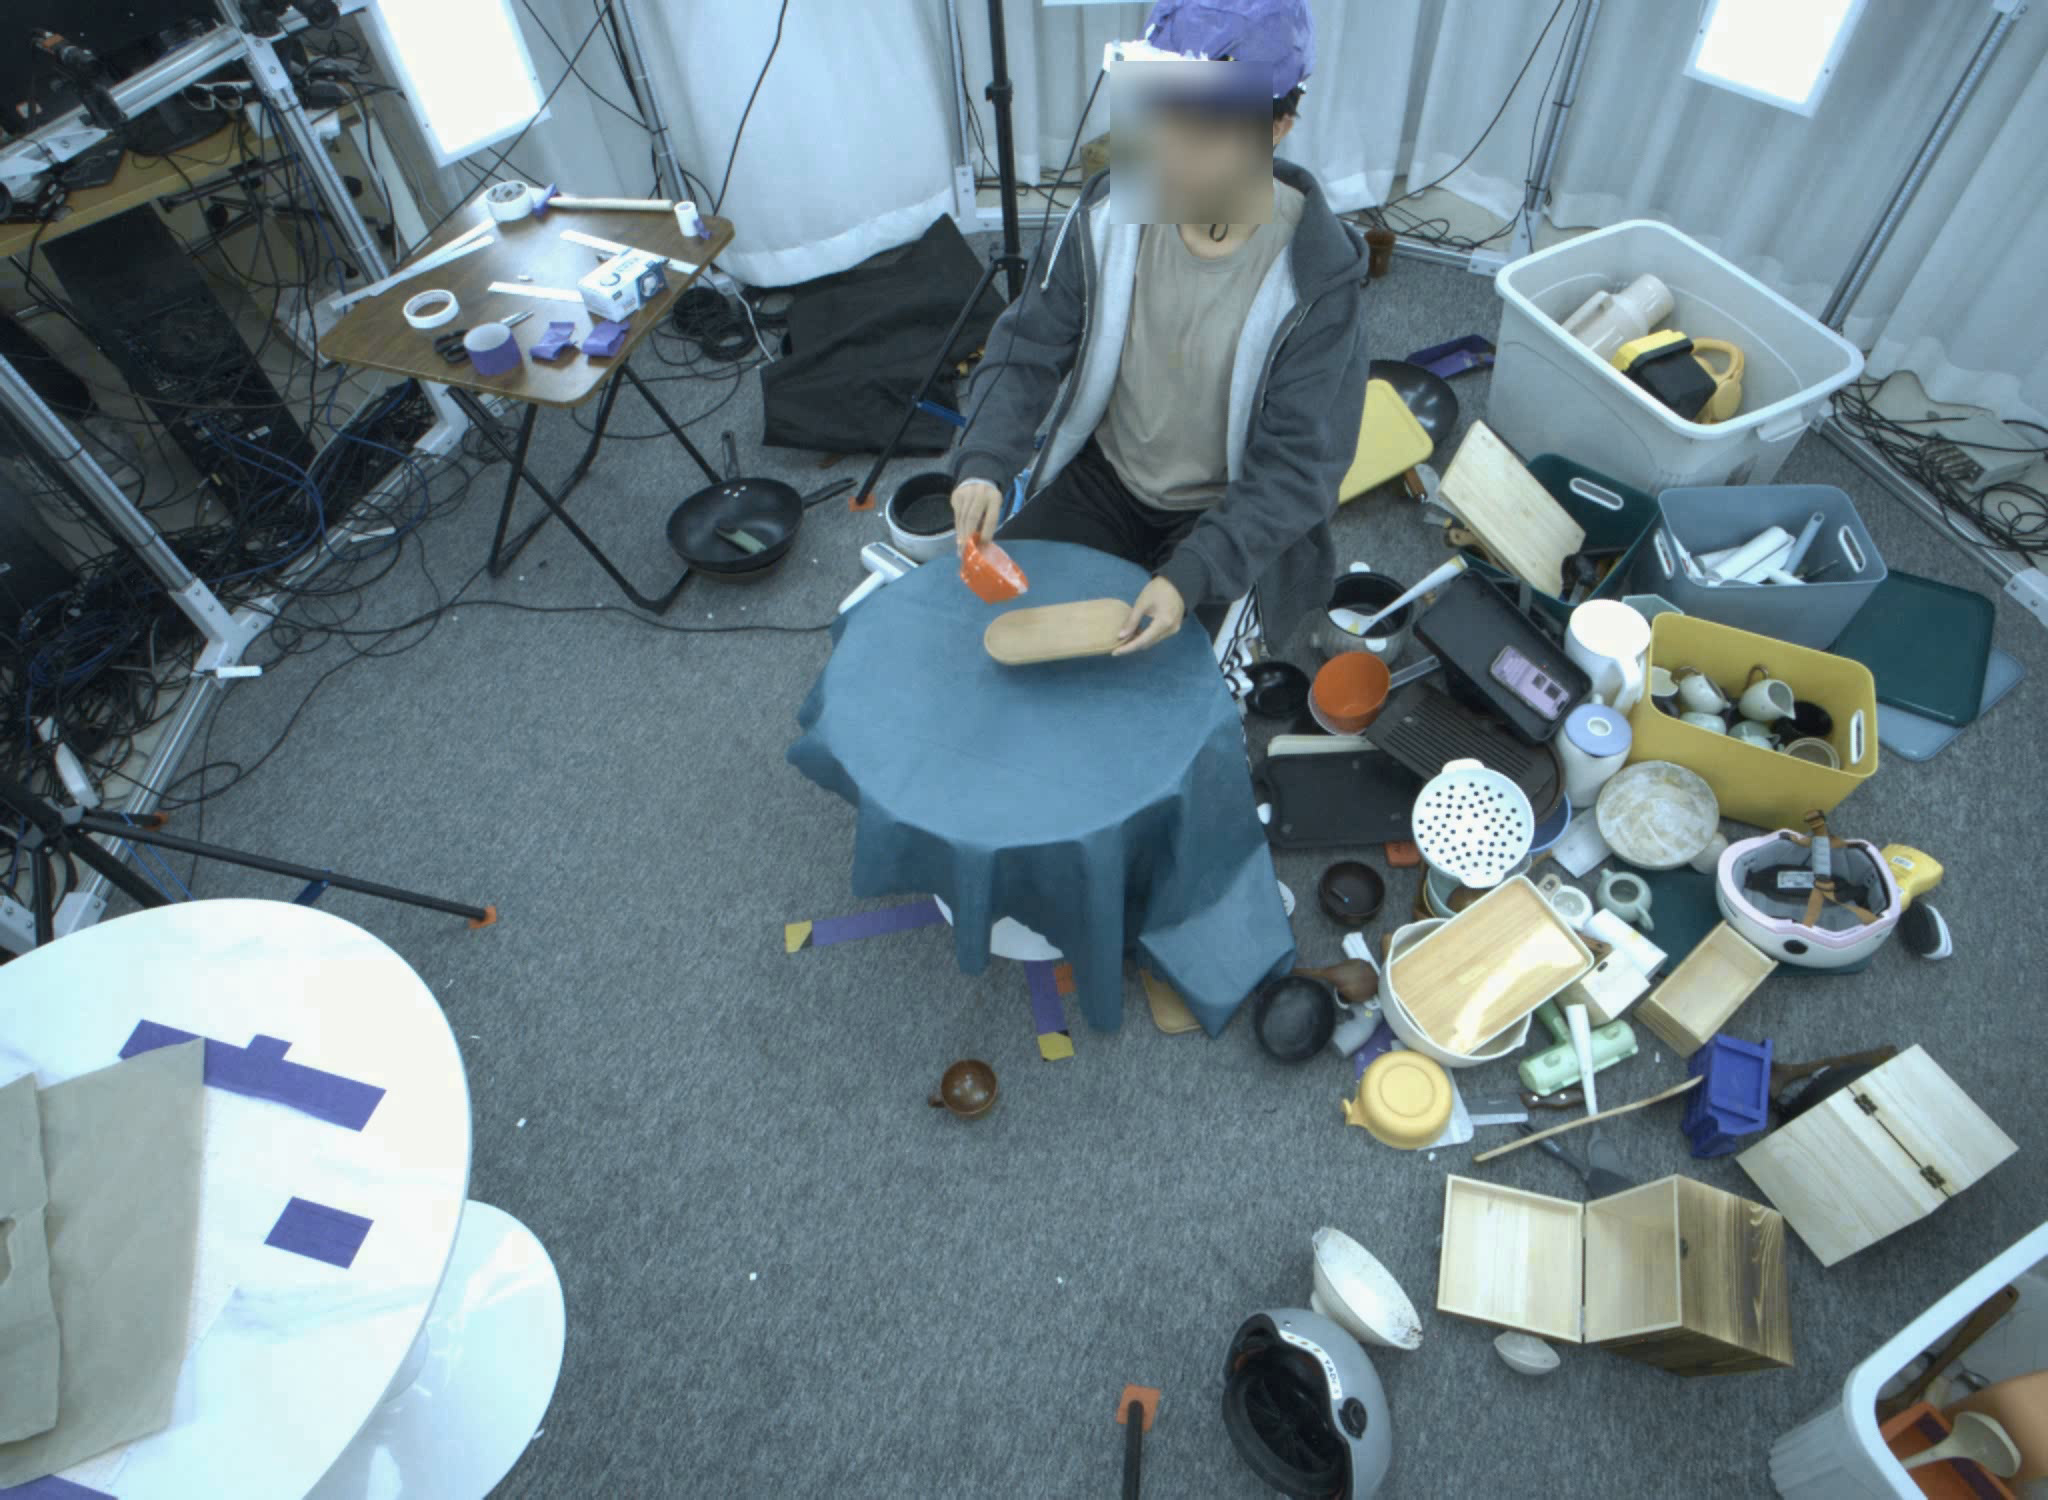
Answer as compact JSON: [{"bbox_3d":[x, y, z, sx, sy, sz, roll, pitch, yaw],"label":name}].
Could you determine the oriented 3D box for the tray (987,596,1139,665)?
[{"bbox_3d":[0.057,-0.178,1.840,0.230,0.020,0.100,-7,55,7],"label":"tray"}]

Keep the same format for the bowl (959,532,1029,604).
[{"bbox_3d":[-0.050,-0.250,1.727,0.051,0.122,0.117,-44,55,21],"label":"bowl"}]
